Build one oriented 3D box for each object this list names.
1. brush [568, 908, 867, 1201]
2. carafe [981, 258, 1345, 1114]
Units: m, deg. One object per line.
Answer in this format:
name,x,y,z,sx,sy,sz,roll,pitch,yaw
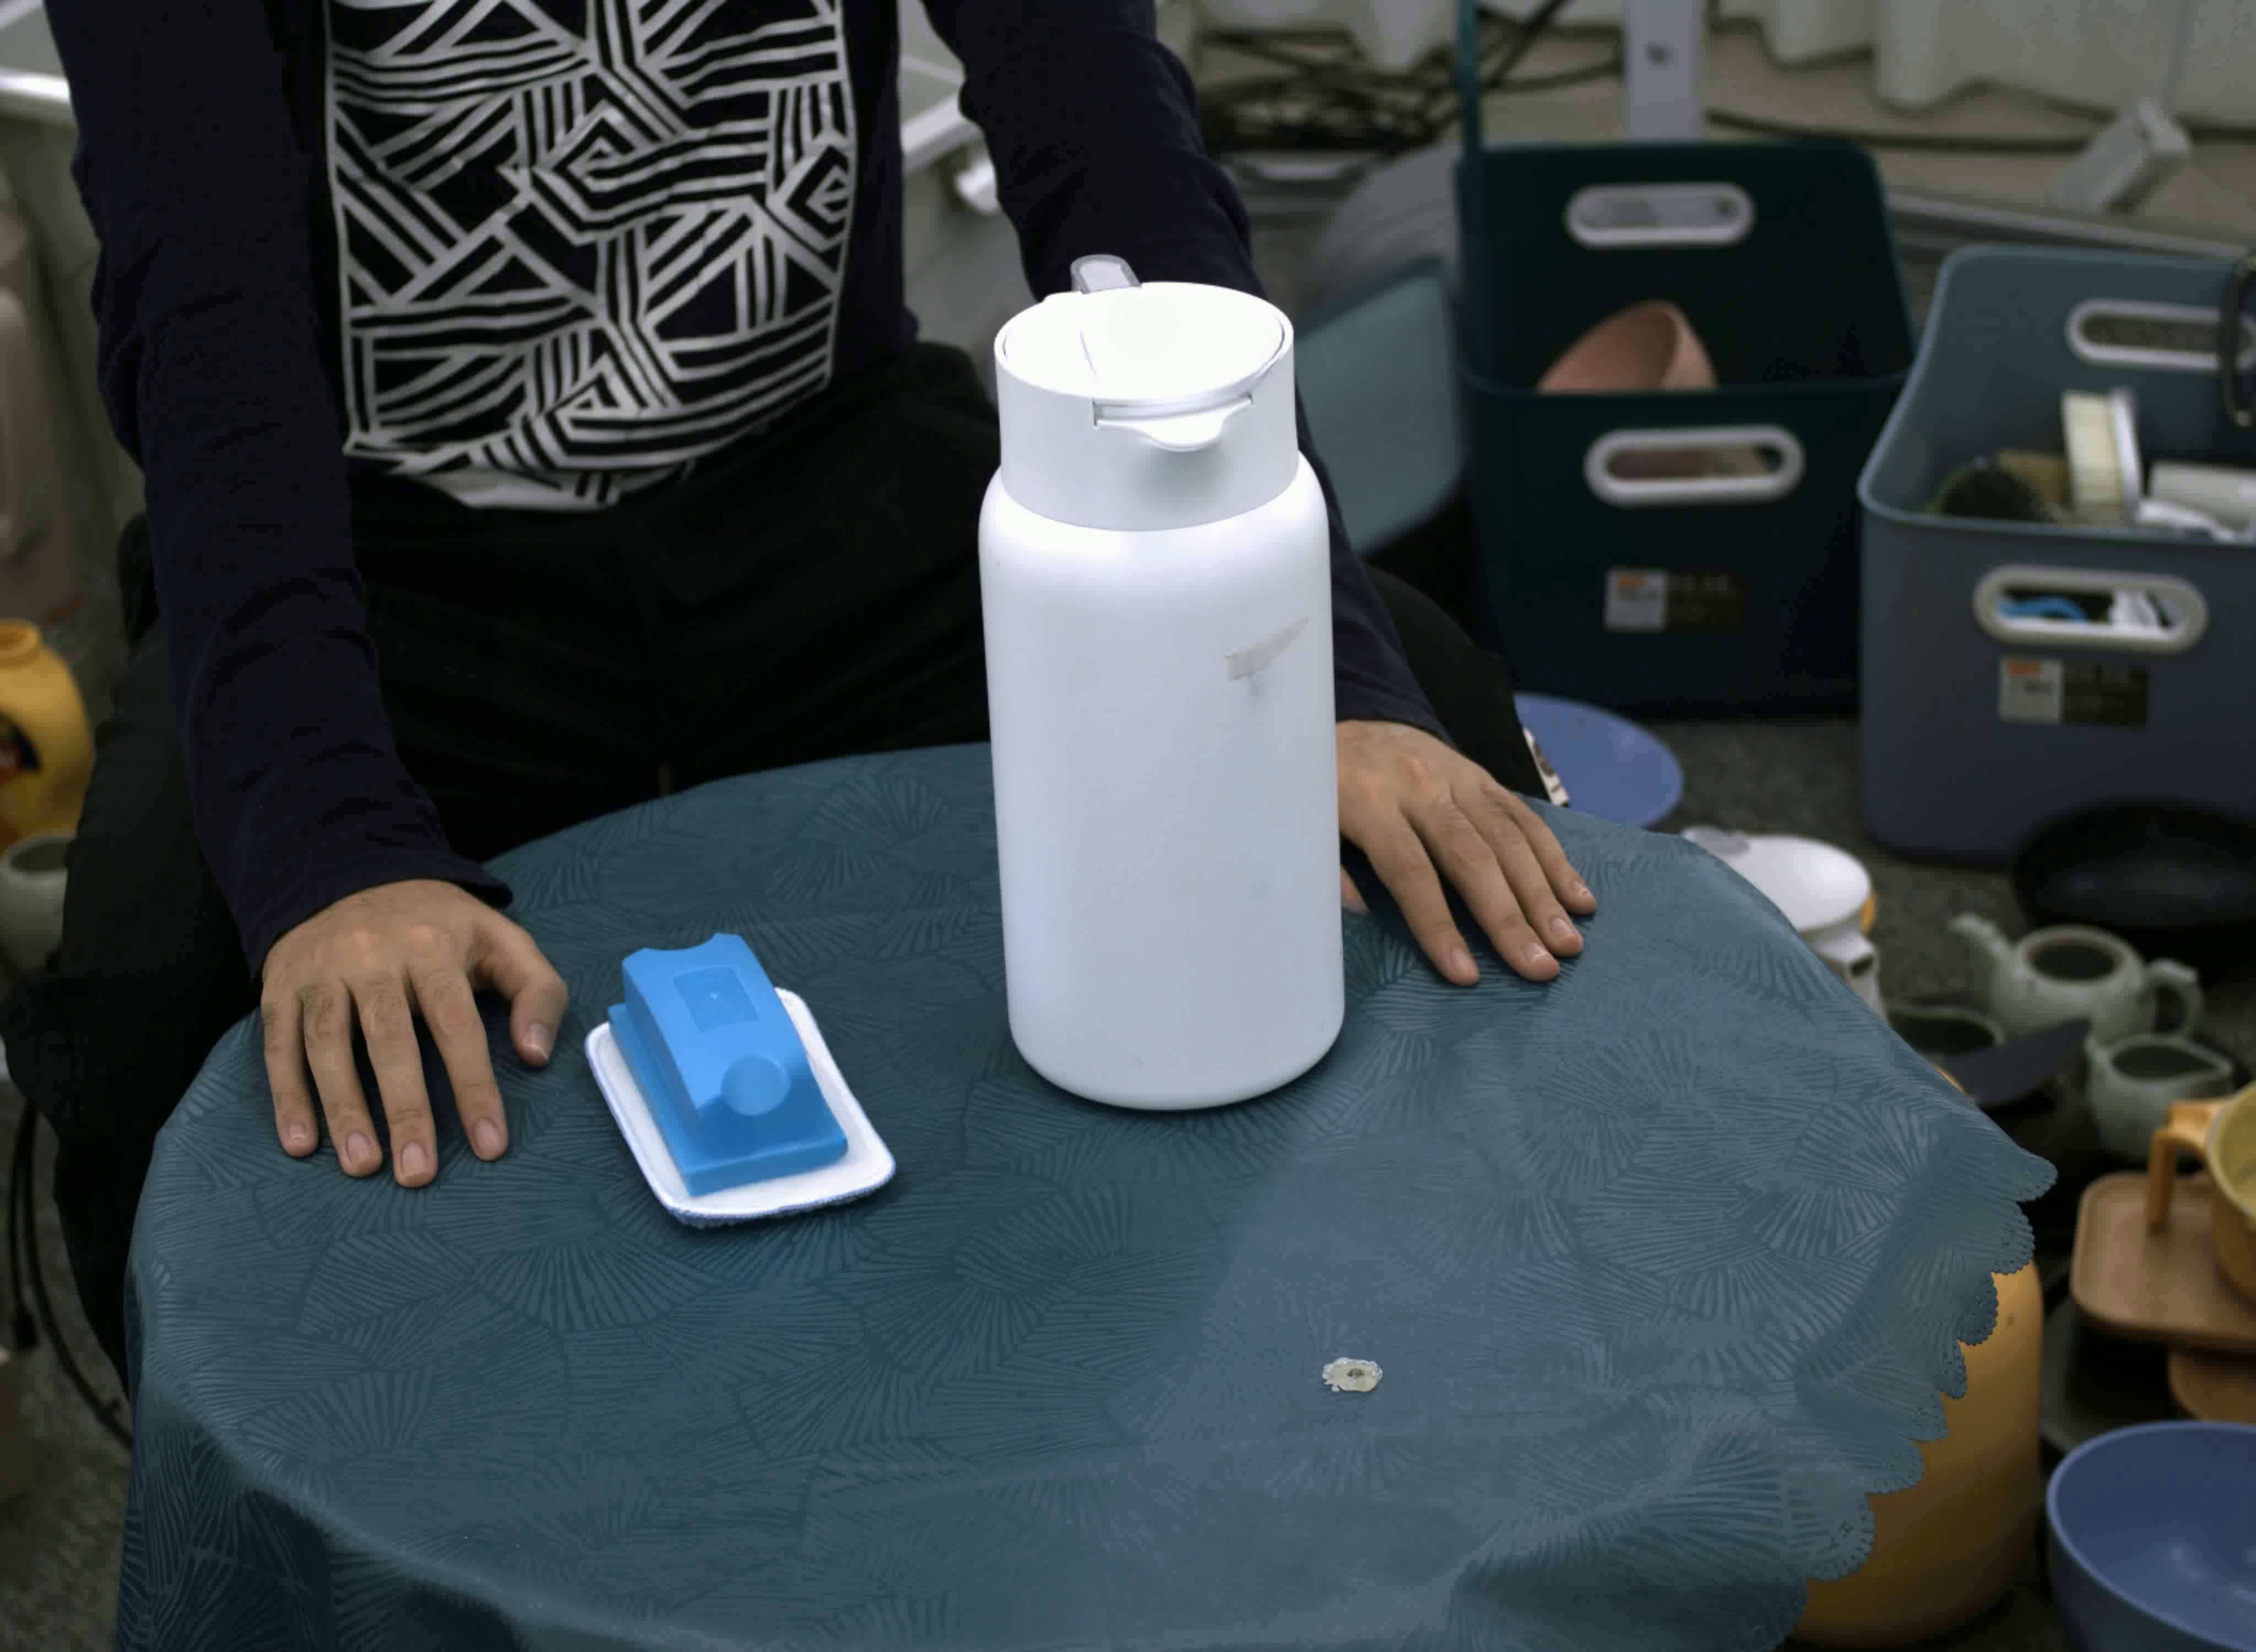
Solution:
brush,-0.139,0.073,1.900,0.084,0.055,0.145,-7,31,-14
carafe,0.006,-0.051,1.907,0.124,0.266,0.174,-11,26,-11
